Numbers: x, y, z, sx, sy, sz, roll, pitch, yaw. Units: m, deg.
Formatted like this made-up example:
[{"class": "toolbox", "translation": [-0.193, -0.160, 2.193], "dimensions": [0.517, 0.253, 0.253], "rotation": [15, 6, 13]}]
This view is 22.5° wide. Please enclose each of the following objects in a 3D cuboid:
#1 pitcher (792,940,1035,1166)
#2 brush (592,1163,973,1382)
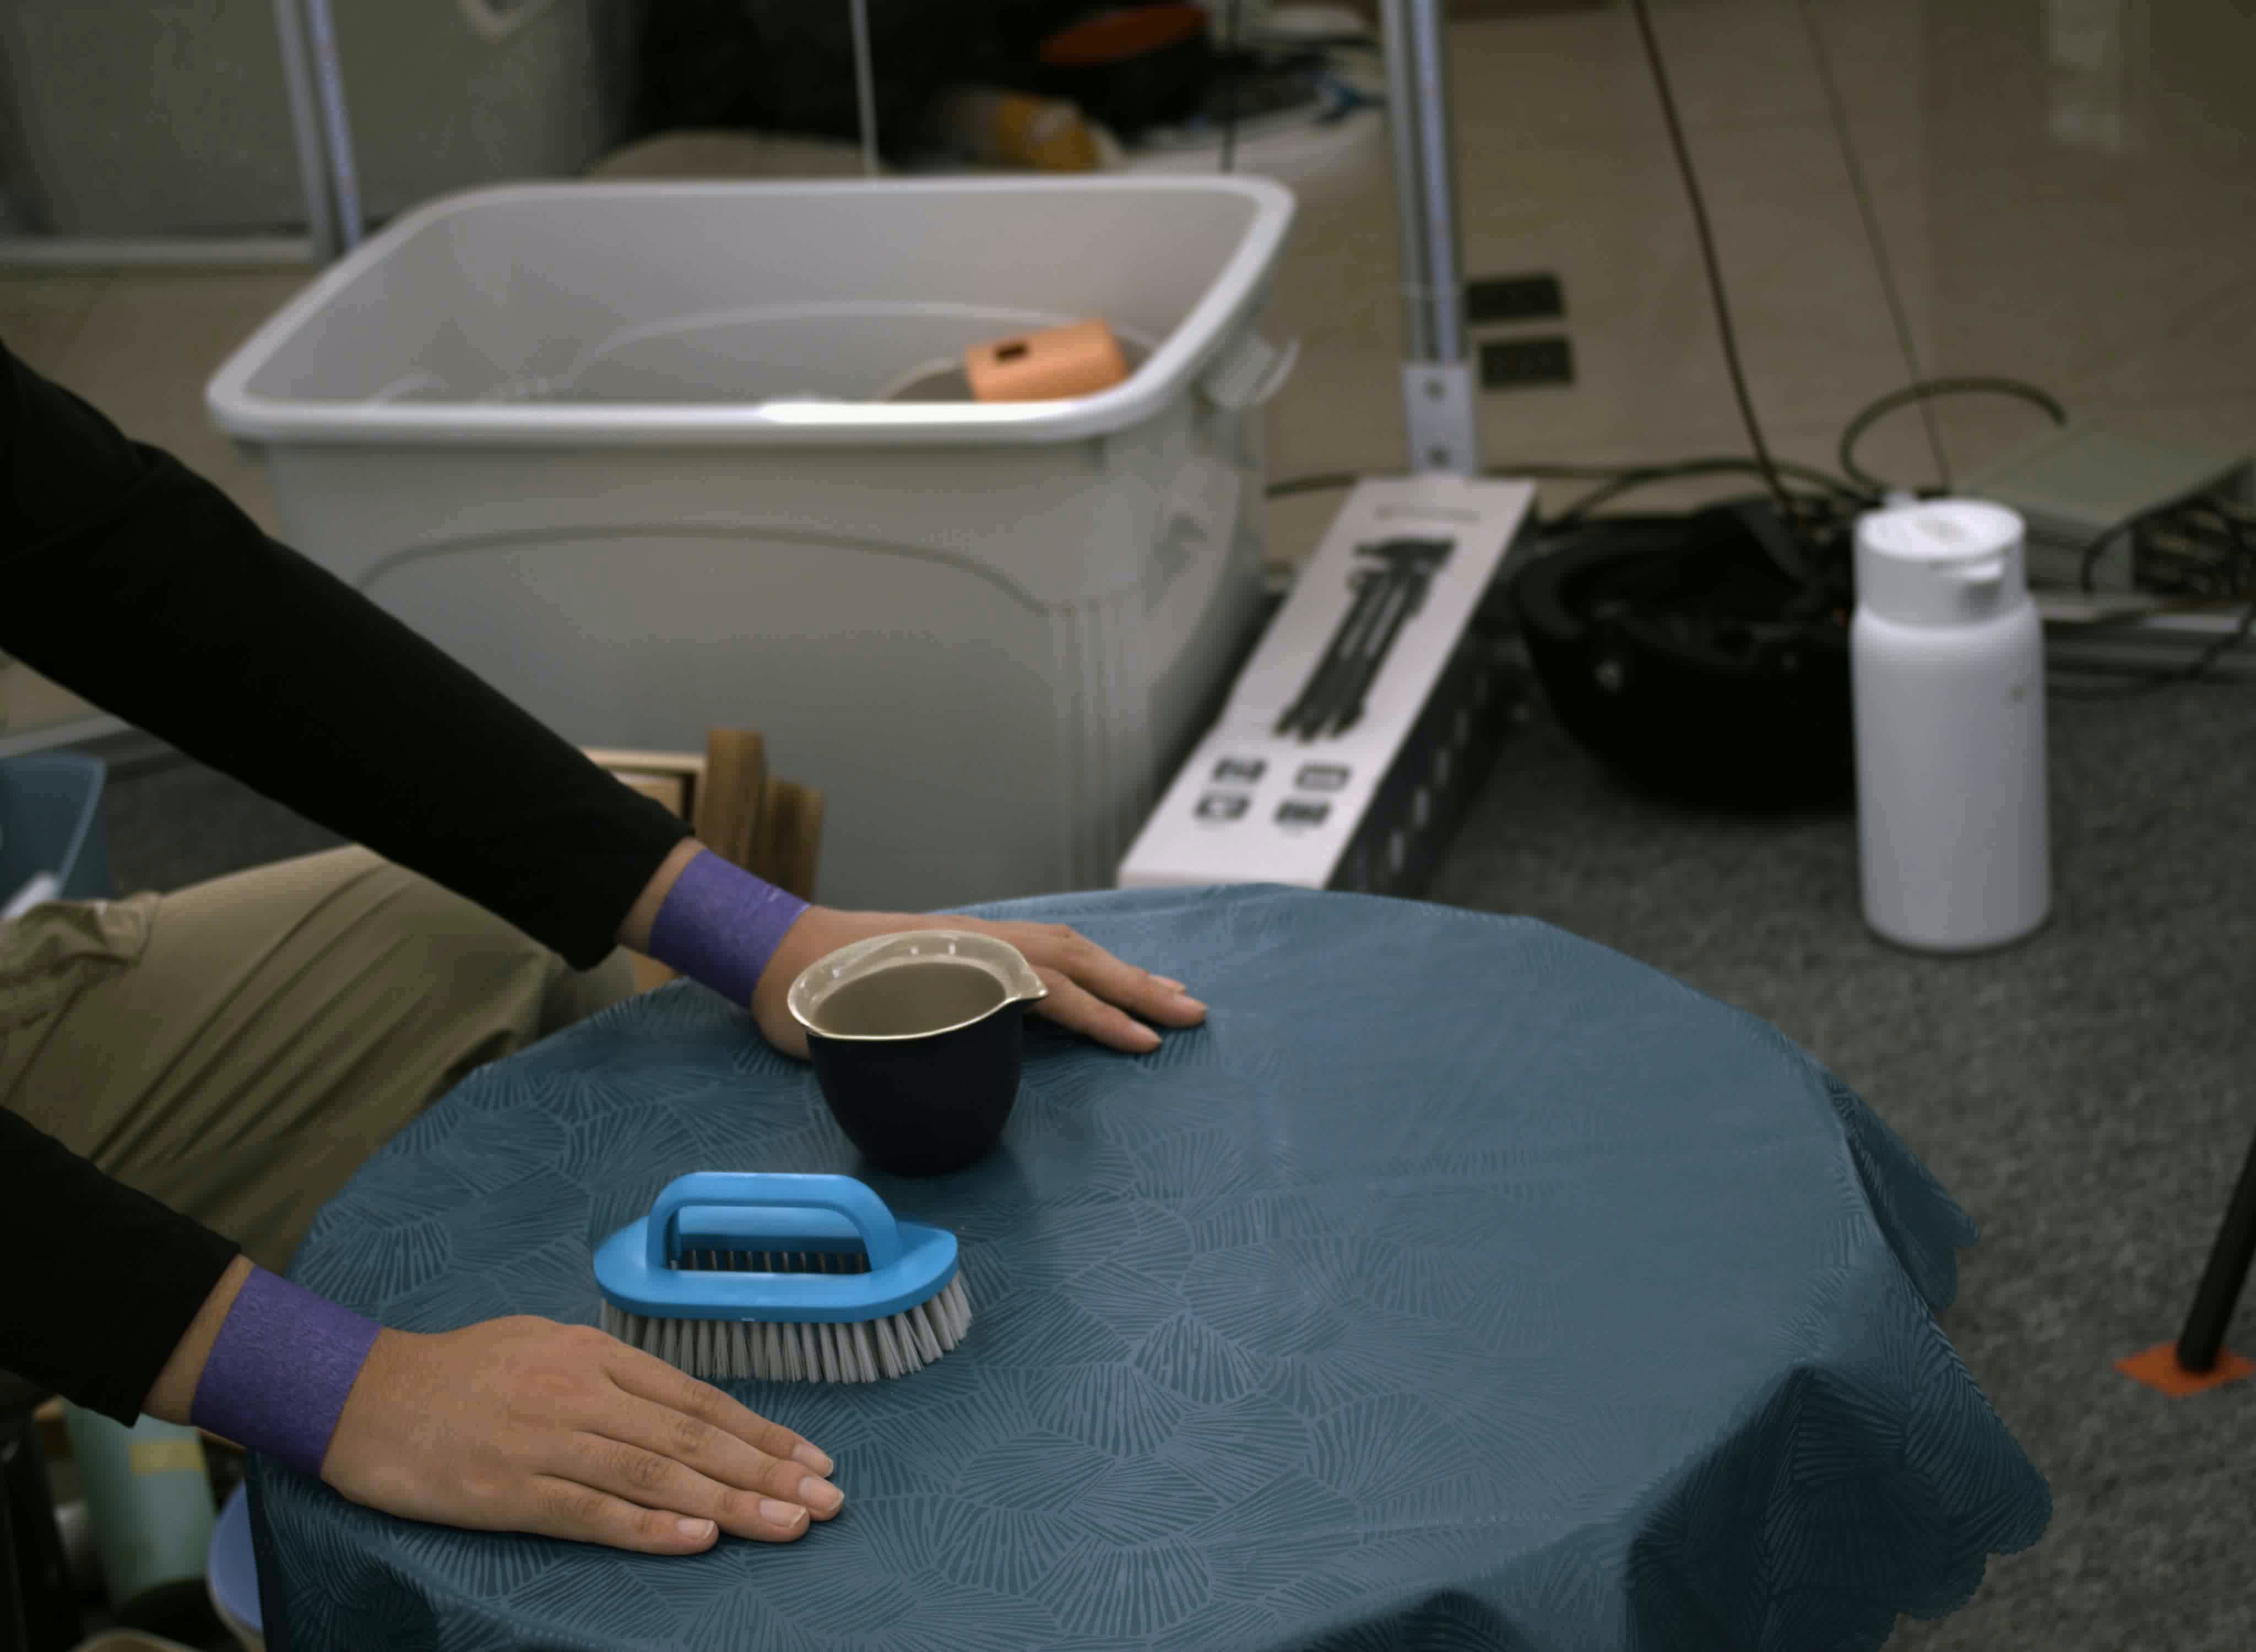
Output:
[{"class": "pitcher", "translation": [-0.079, 0.089, 2.183], "dimensions": [0.095, 0.072, 0.082], "rotation": [5, 26, 19]}, {"class": "brush", "translation": [-0.130, 0.153, 2.068], "dimensions": [0.141, 0.065, 0.083], "rotation": [0, 30, 17]}]
